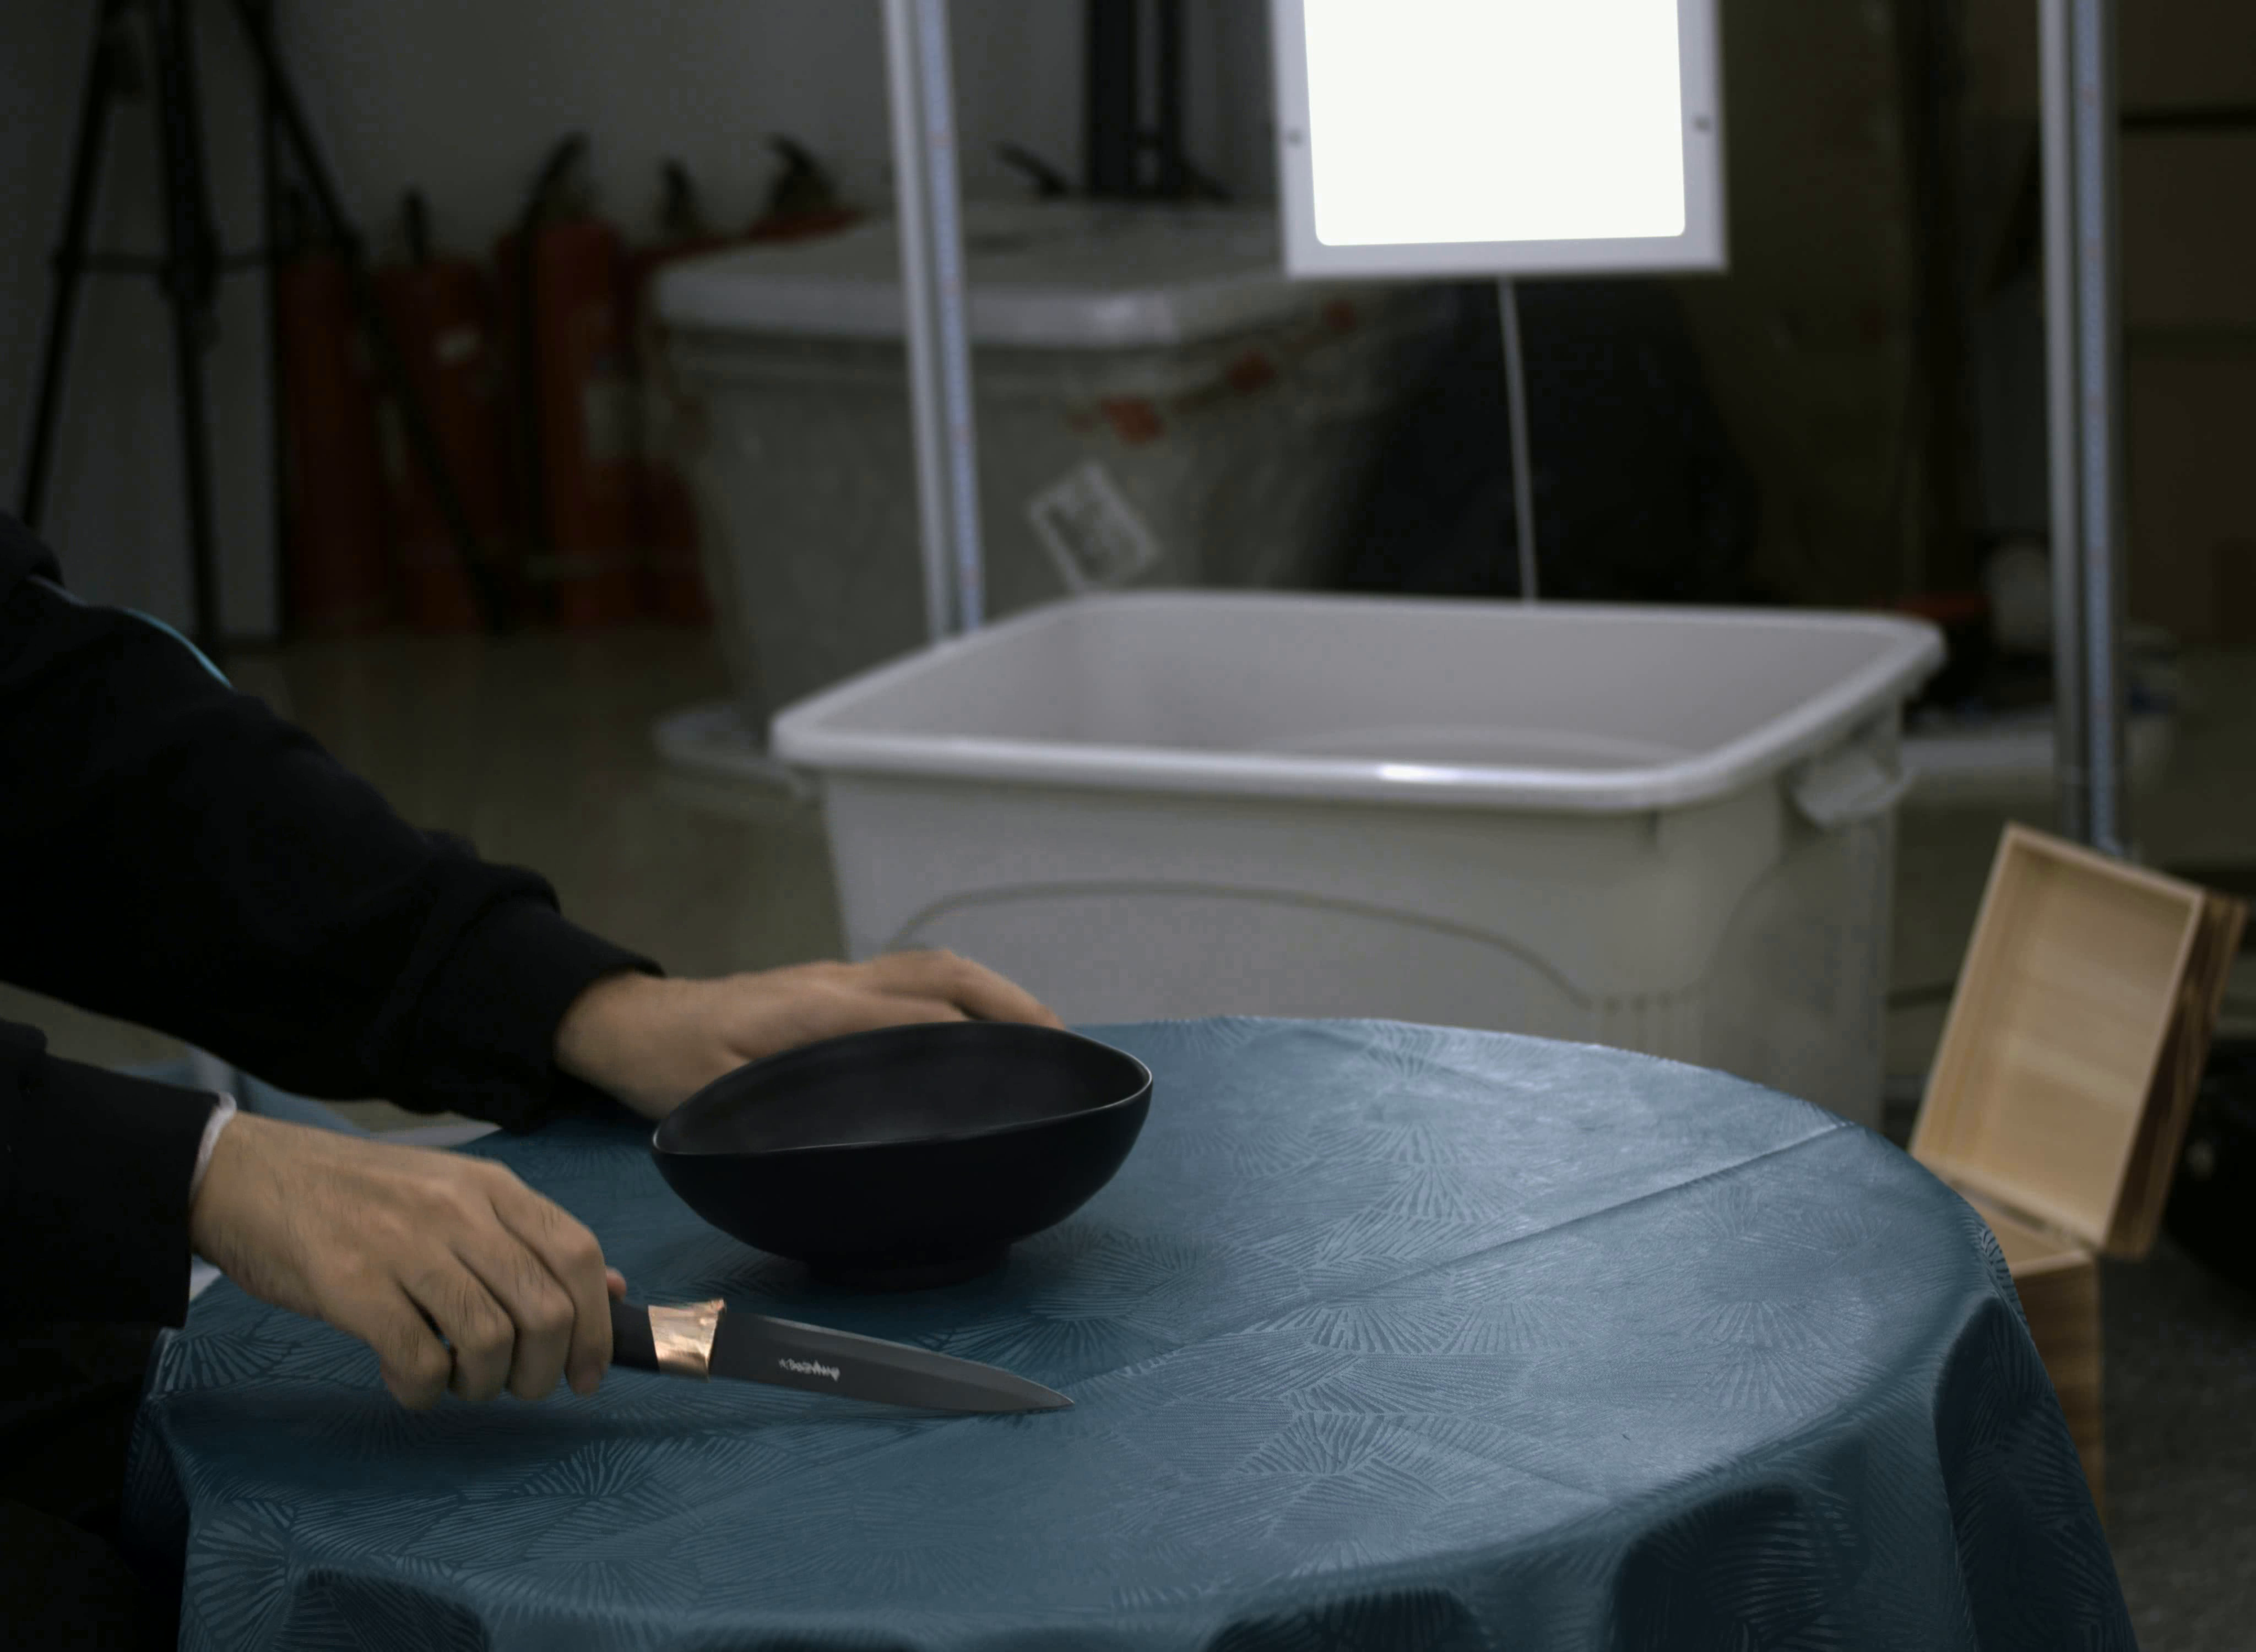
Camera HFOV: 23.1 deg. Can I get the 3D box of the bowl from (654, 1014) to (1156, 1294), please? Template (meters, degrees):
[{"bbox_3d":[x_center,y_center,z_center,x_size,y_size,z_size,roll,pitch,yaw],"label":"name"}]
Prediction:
[{"bbox_3d":[-0.072,0.115,1.836,0.170,0.067,0.137,-7,14,0],"label":"bowl"}]

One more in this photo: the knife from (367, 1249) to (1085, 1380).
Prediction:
[{"bbox_3d":[-0.125,0.155,1.706,0.226,0.026,0.017,8,-17,9],"label":"knife"}]
